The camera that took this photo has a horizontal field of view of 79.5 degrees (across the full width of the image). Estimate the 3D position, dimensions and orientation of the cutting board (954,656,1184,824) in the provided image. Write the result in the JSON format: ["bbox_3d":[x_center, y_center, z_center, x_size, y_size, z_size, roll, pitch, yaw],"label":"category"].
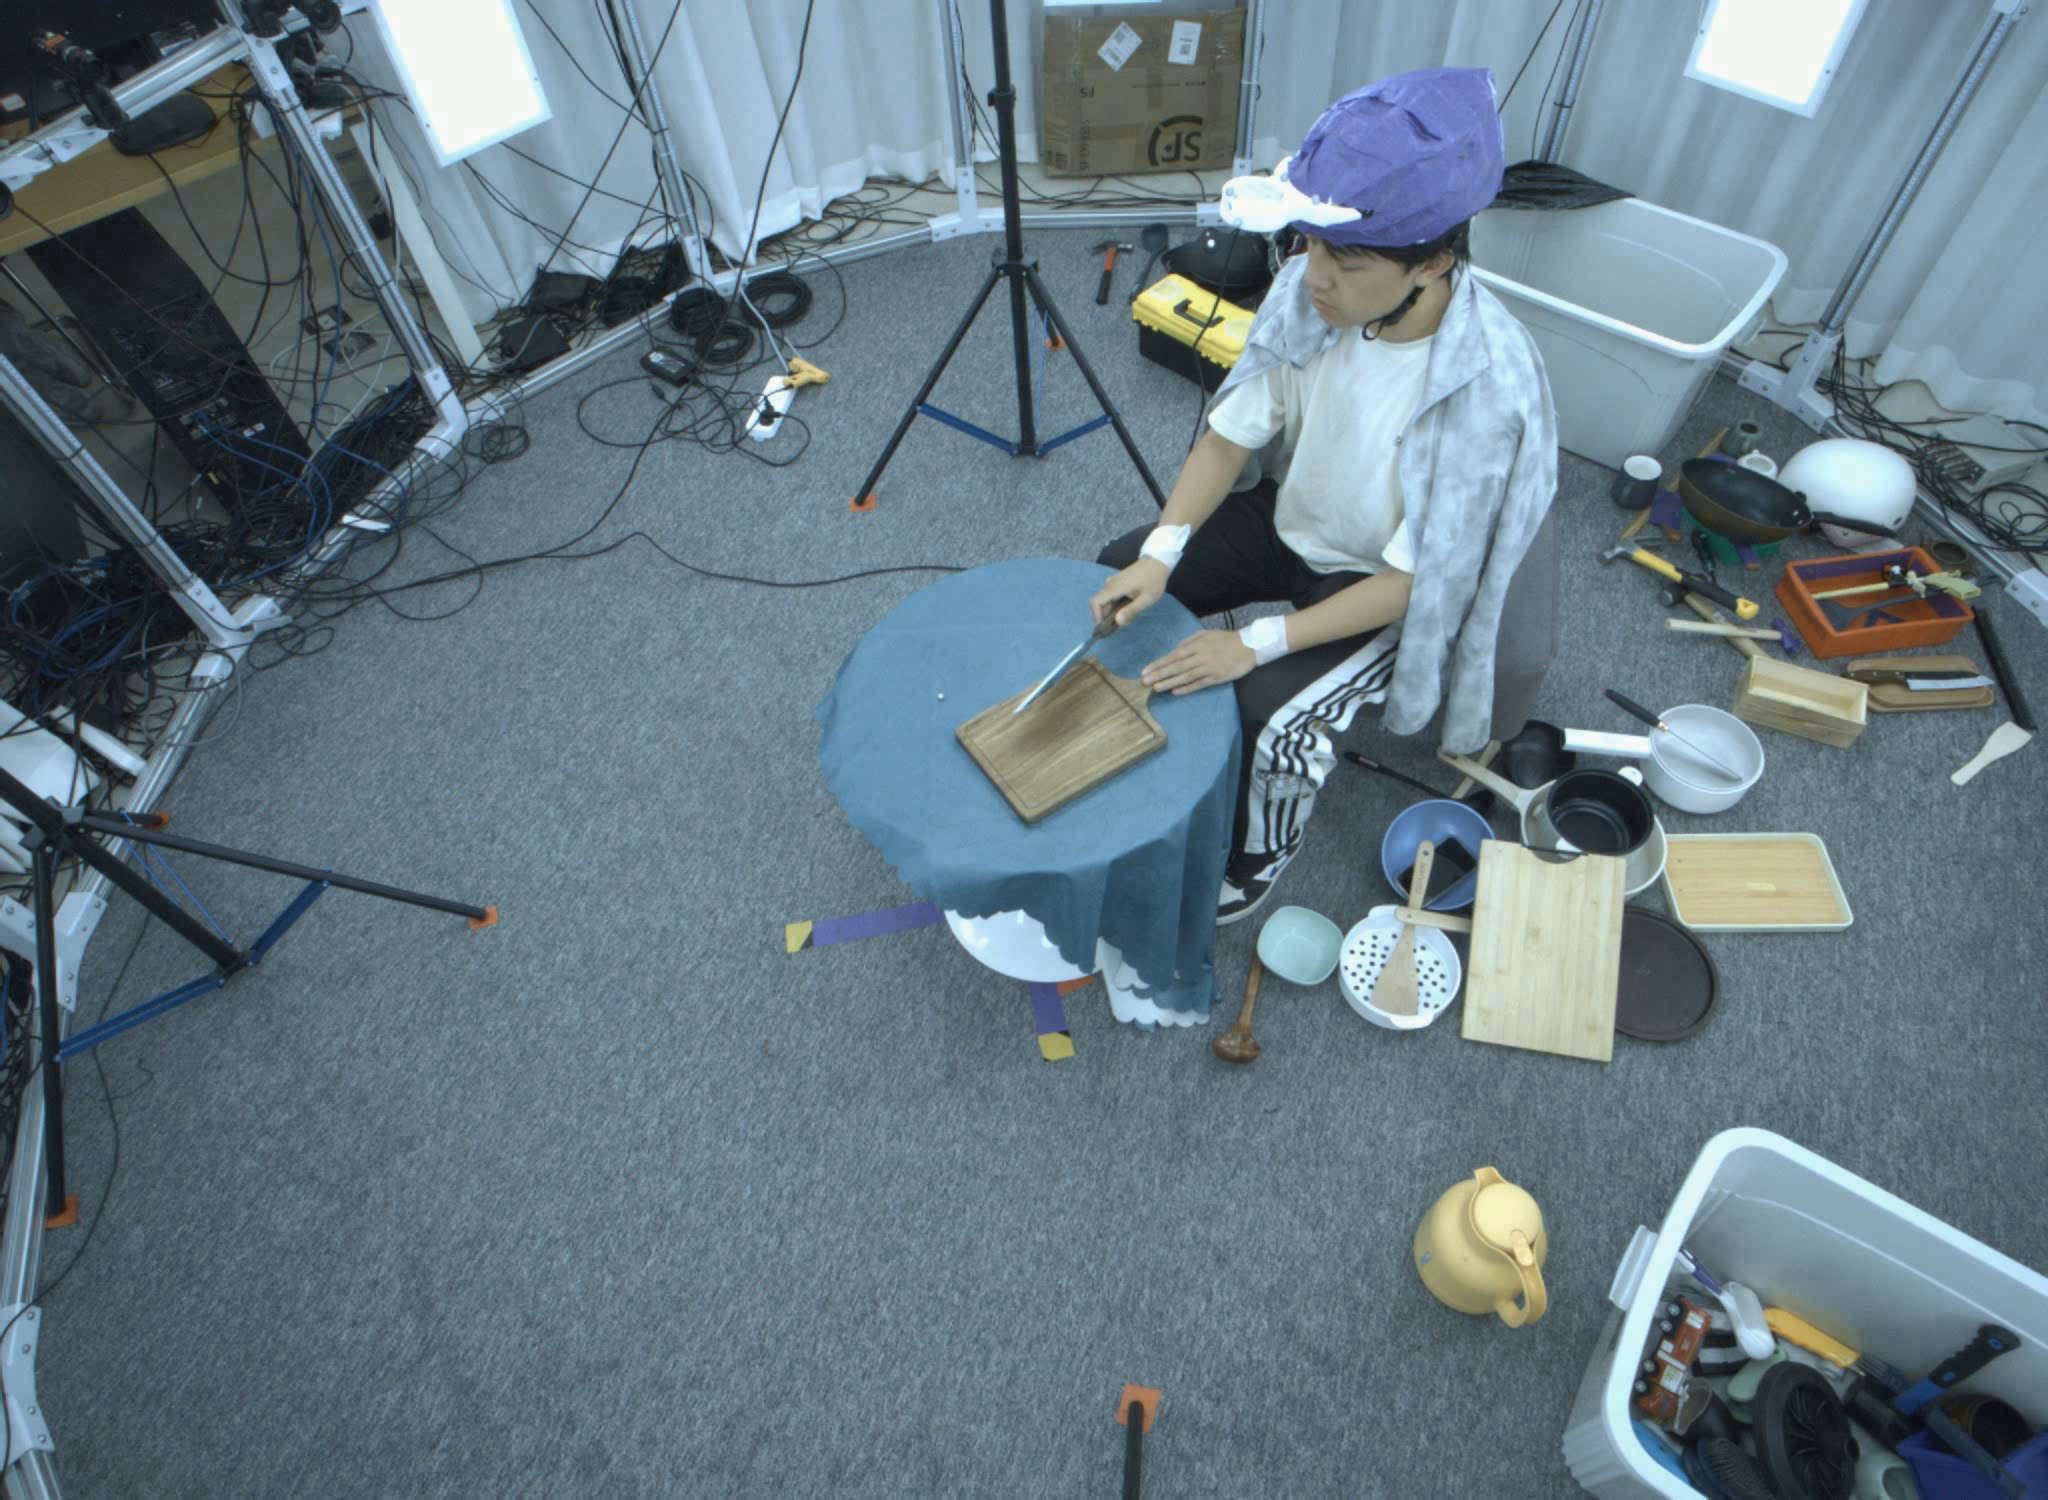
[{"bbox_3d":[0.094,-0.044,1.807,0.355,0.023,0.197,-30,58,-19],"label":"cutting board"}]

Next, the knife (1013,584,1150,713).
[{"bbox_3d":[0.085,-0.151,1.818,0.024,0.067,0.301,51,60,-11],"label":"knife"}]
